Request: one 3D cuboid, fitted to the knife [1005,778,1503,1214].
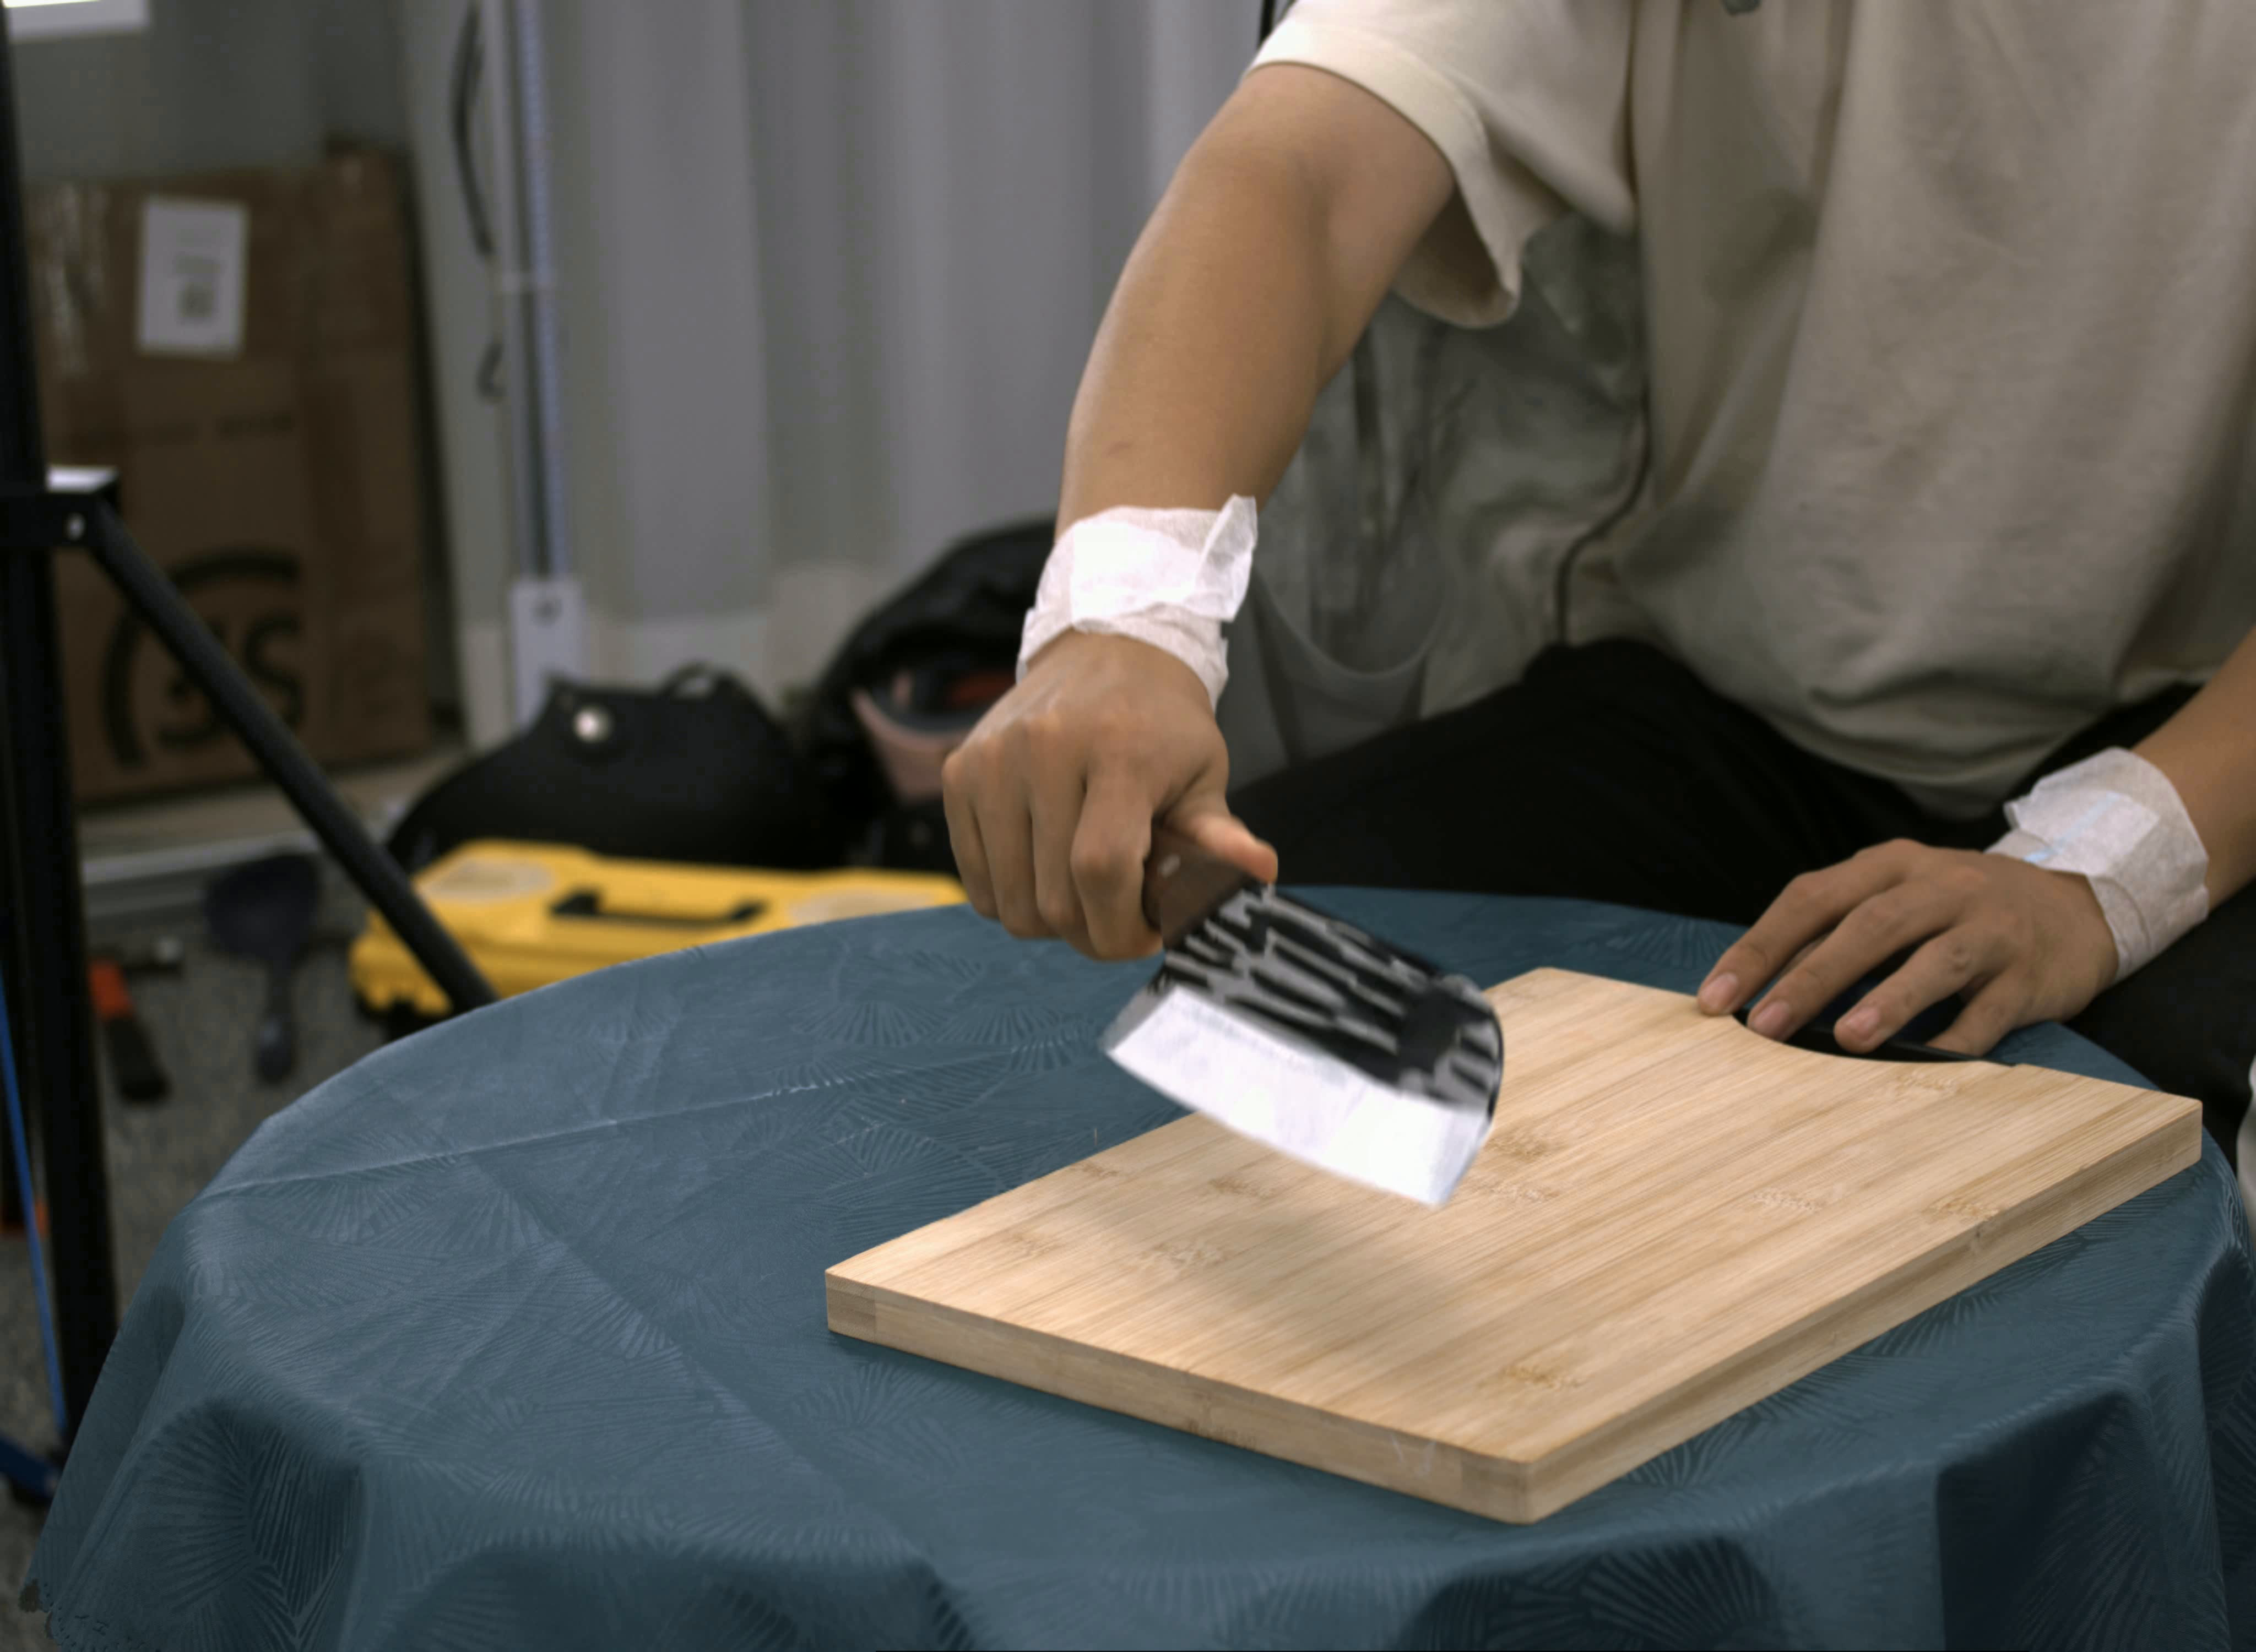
[{"bbox_3d":[0.026,0.044,1.451,0.068,0.023,0.306,-46,29,-9],"label":"knife"}]

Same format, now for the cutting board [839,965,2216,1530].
[{"bbox_3d":[0.120,0.109,1.502,0.256,0.023,0.341,11,20,39],"label":"cutting board"}]
